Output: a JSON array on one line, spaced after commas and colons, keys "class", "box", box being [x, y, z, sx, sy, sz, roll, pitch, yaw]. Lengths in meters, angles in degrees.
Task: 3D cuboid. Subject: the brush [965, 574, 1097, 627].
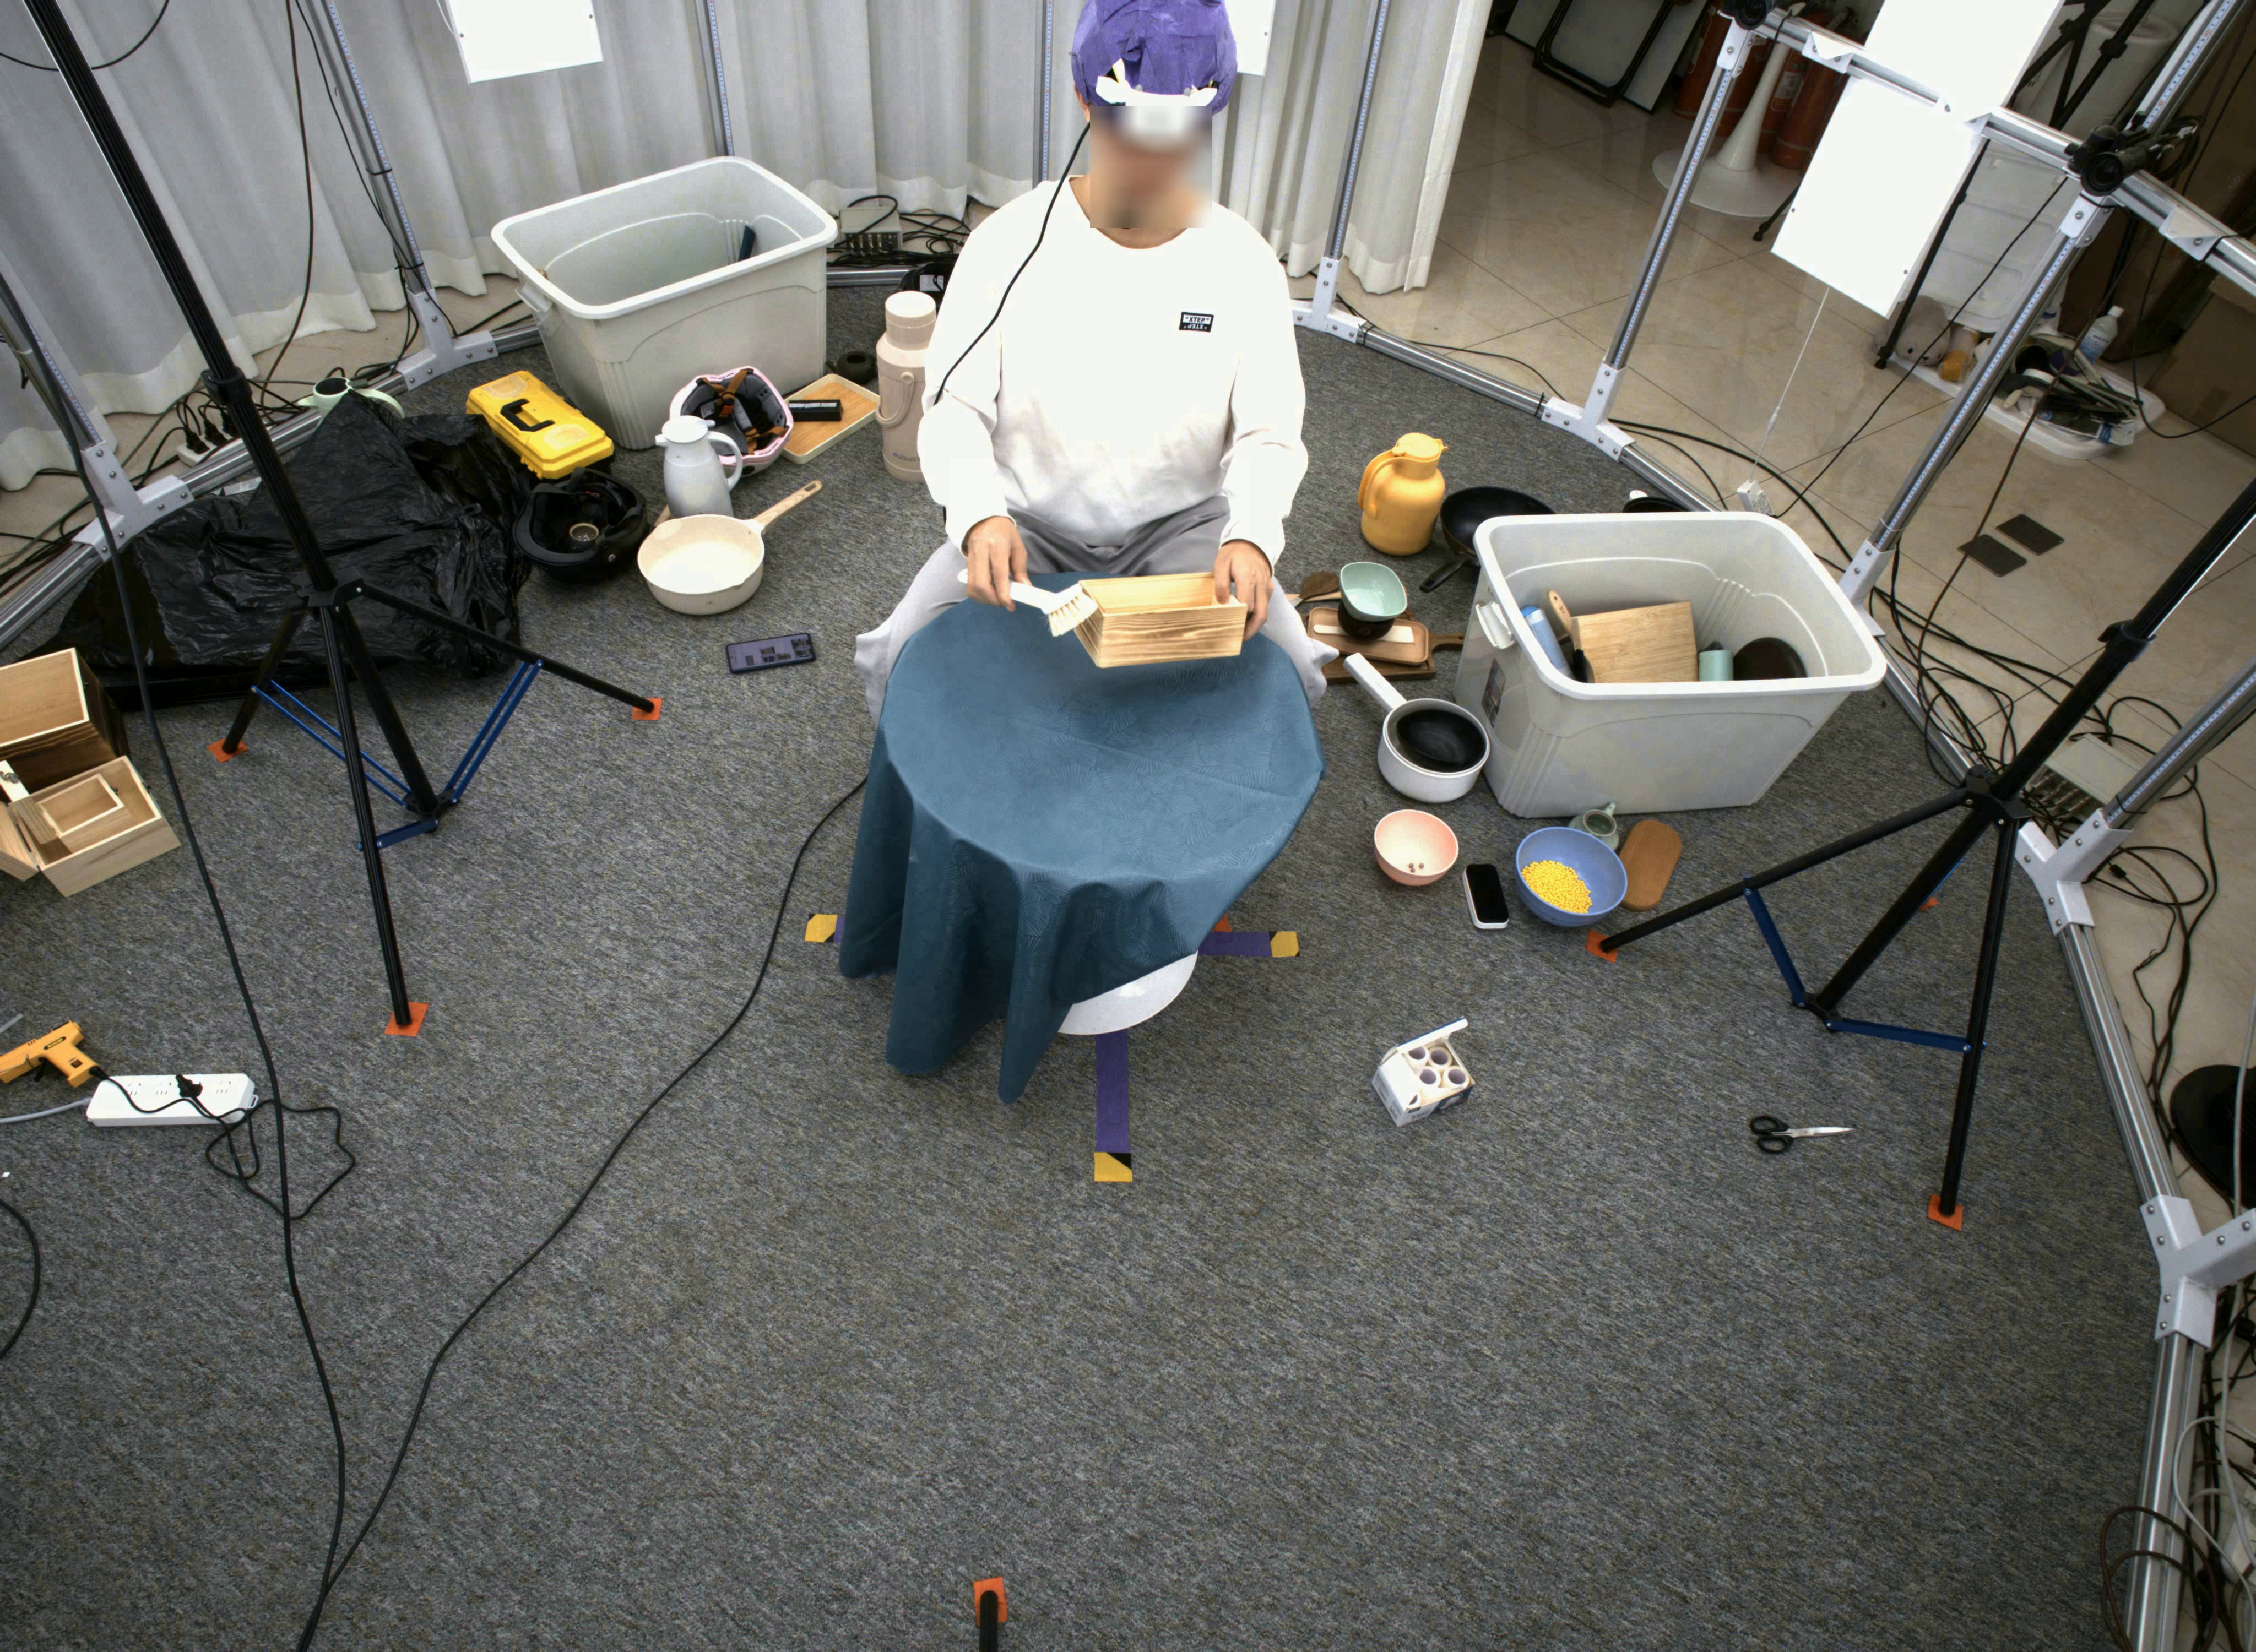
[{"class": "brush", "box": [-0.135, -0.305, 1.724, 0.069, 0.055, 0.269, -30, 27, -29]}]

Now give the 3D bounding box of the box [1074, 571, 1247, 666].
[{"class": "box", "box": [0.043, -0.288, 1.773, 0.211, 0.078, 0.110, -8, 37, -19]}]
